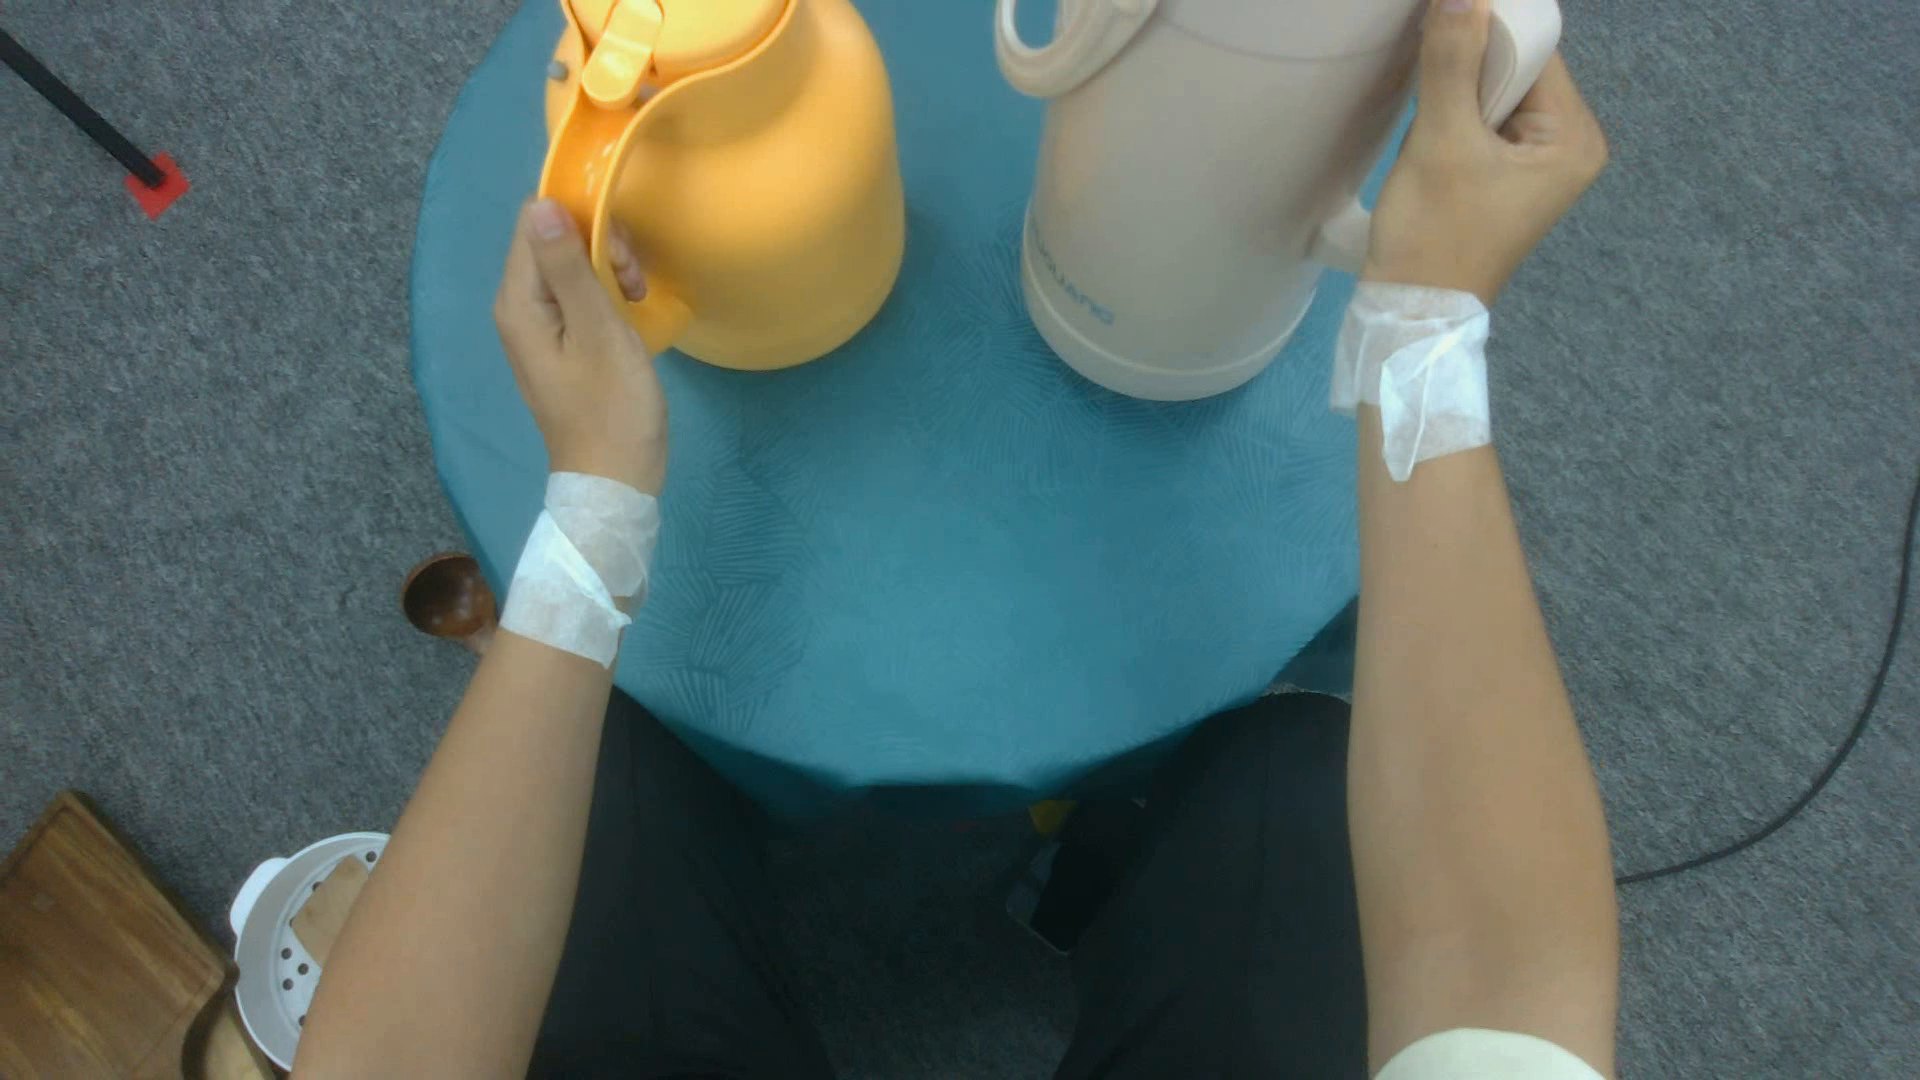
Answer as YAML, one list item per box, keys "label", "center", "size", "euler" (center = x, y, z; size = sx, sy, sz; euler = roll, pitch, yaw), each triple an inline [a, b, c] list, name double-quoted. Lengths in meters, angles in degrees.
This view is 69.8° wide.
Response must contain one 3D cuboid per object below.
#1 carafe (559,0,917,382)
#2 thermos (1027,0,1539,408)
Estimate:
- label: "carafe"
  center: [-0.116, -0.176, 0.673]
  size: [0.163, 0.260, 0.203]
  euler: [24, 75, 9]
- label: "thermos"
  center: [0.129, -0.204, 0.588]
  size: [0.176, 0.405, 0.207]
  euler: [-38, 74, -16]
